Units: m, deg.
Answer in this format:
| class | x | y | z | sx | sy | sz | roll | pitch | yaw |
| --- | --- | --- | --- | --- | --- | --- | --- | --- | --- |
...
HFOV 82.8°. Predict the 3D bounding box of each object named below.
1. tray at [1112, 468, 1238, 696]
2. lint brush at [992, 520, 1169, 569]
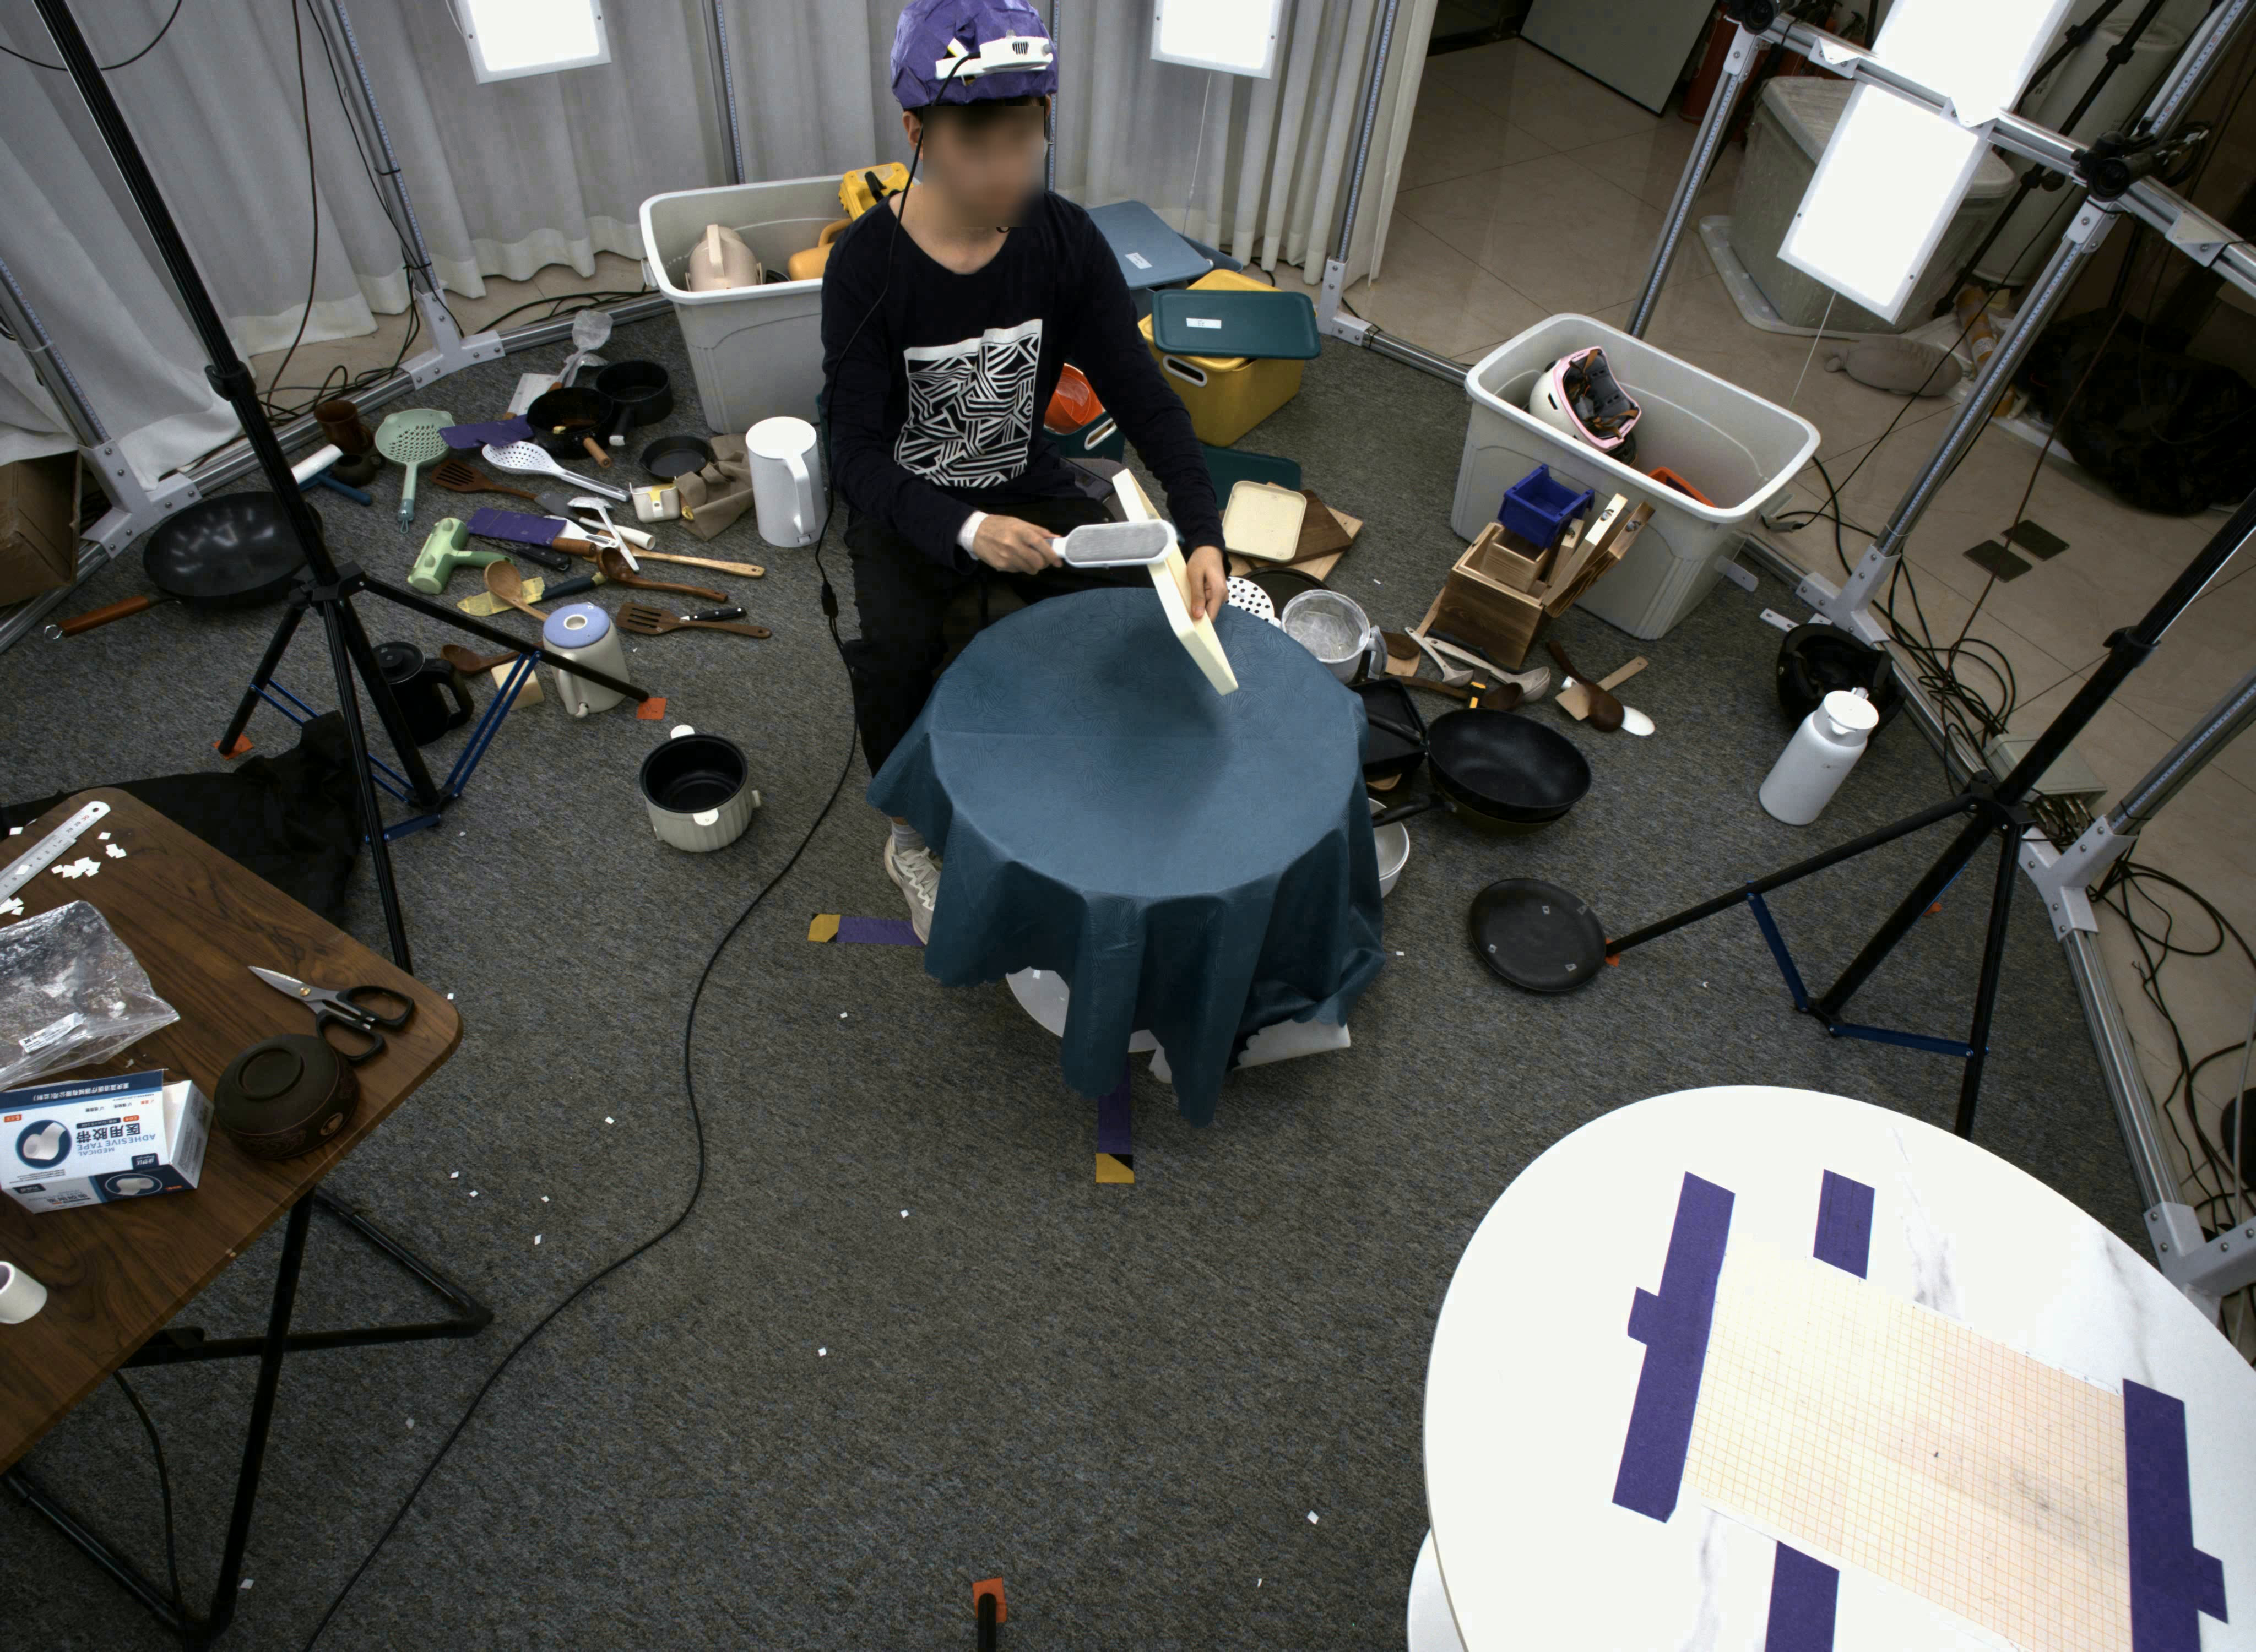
| class | x | y | z | sx | sy | sz | roll | pitch | yaw |
| --- | --- | --- | --- | --- | --- | --- | --- | --- | --- |
| tray | 0.063 | -0.334 | 1.758 | 0.027 | 0.188 | 0.307 | -27 | 57 | 12 |
| lint brush | -0.069 | -0.372 | 1.709 | 0.311 | 0.060 | 0.021 | 8 | -3 | 40 |
